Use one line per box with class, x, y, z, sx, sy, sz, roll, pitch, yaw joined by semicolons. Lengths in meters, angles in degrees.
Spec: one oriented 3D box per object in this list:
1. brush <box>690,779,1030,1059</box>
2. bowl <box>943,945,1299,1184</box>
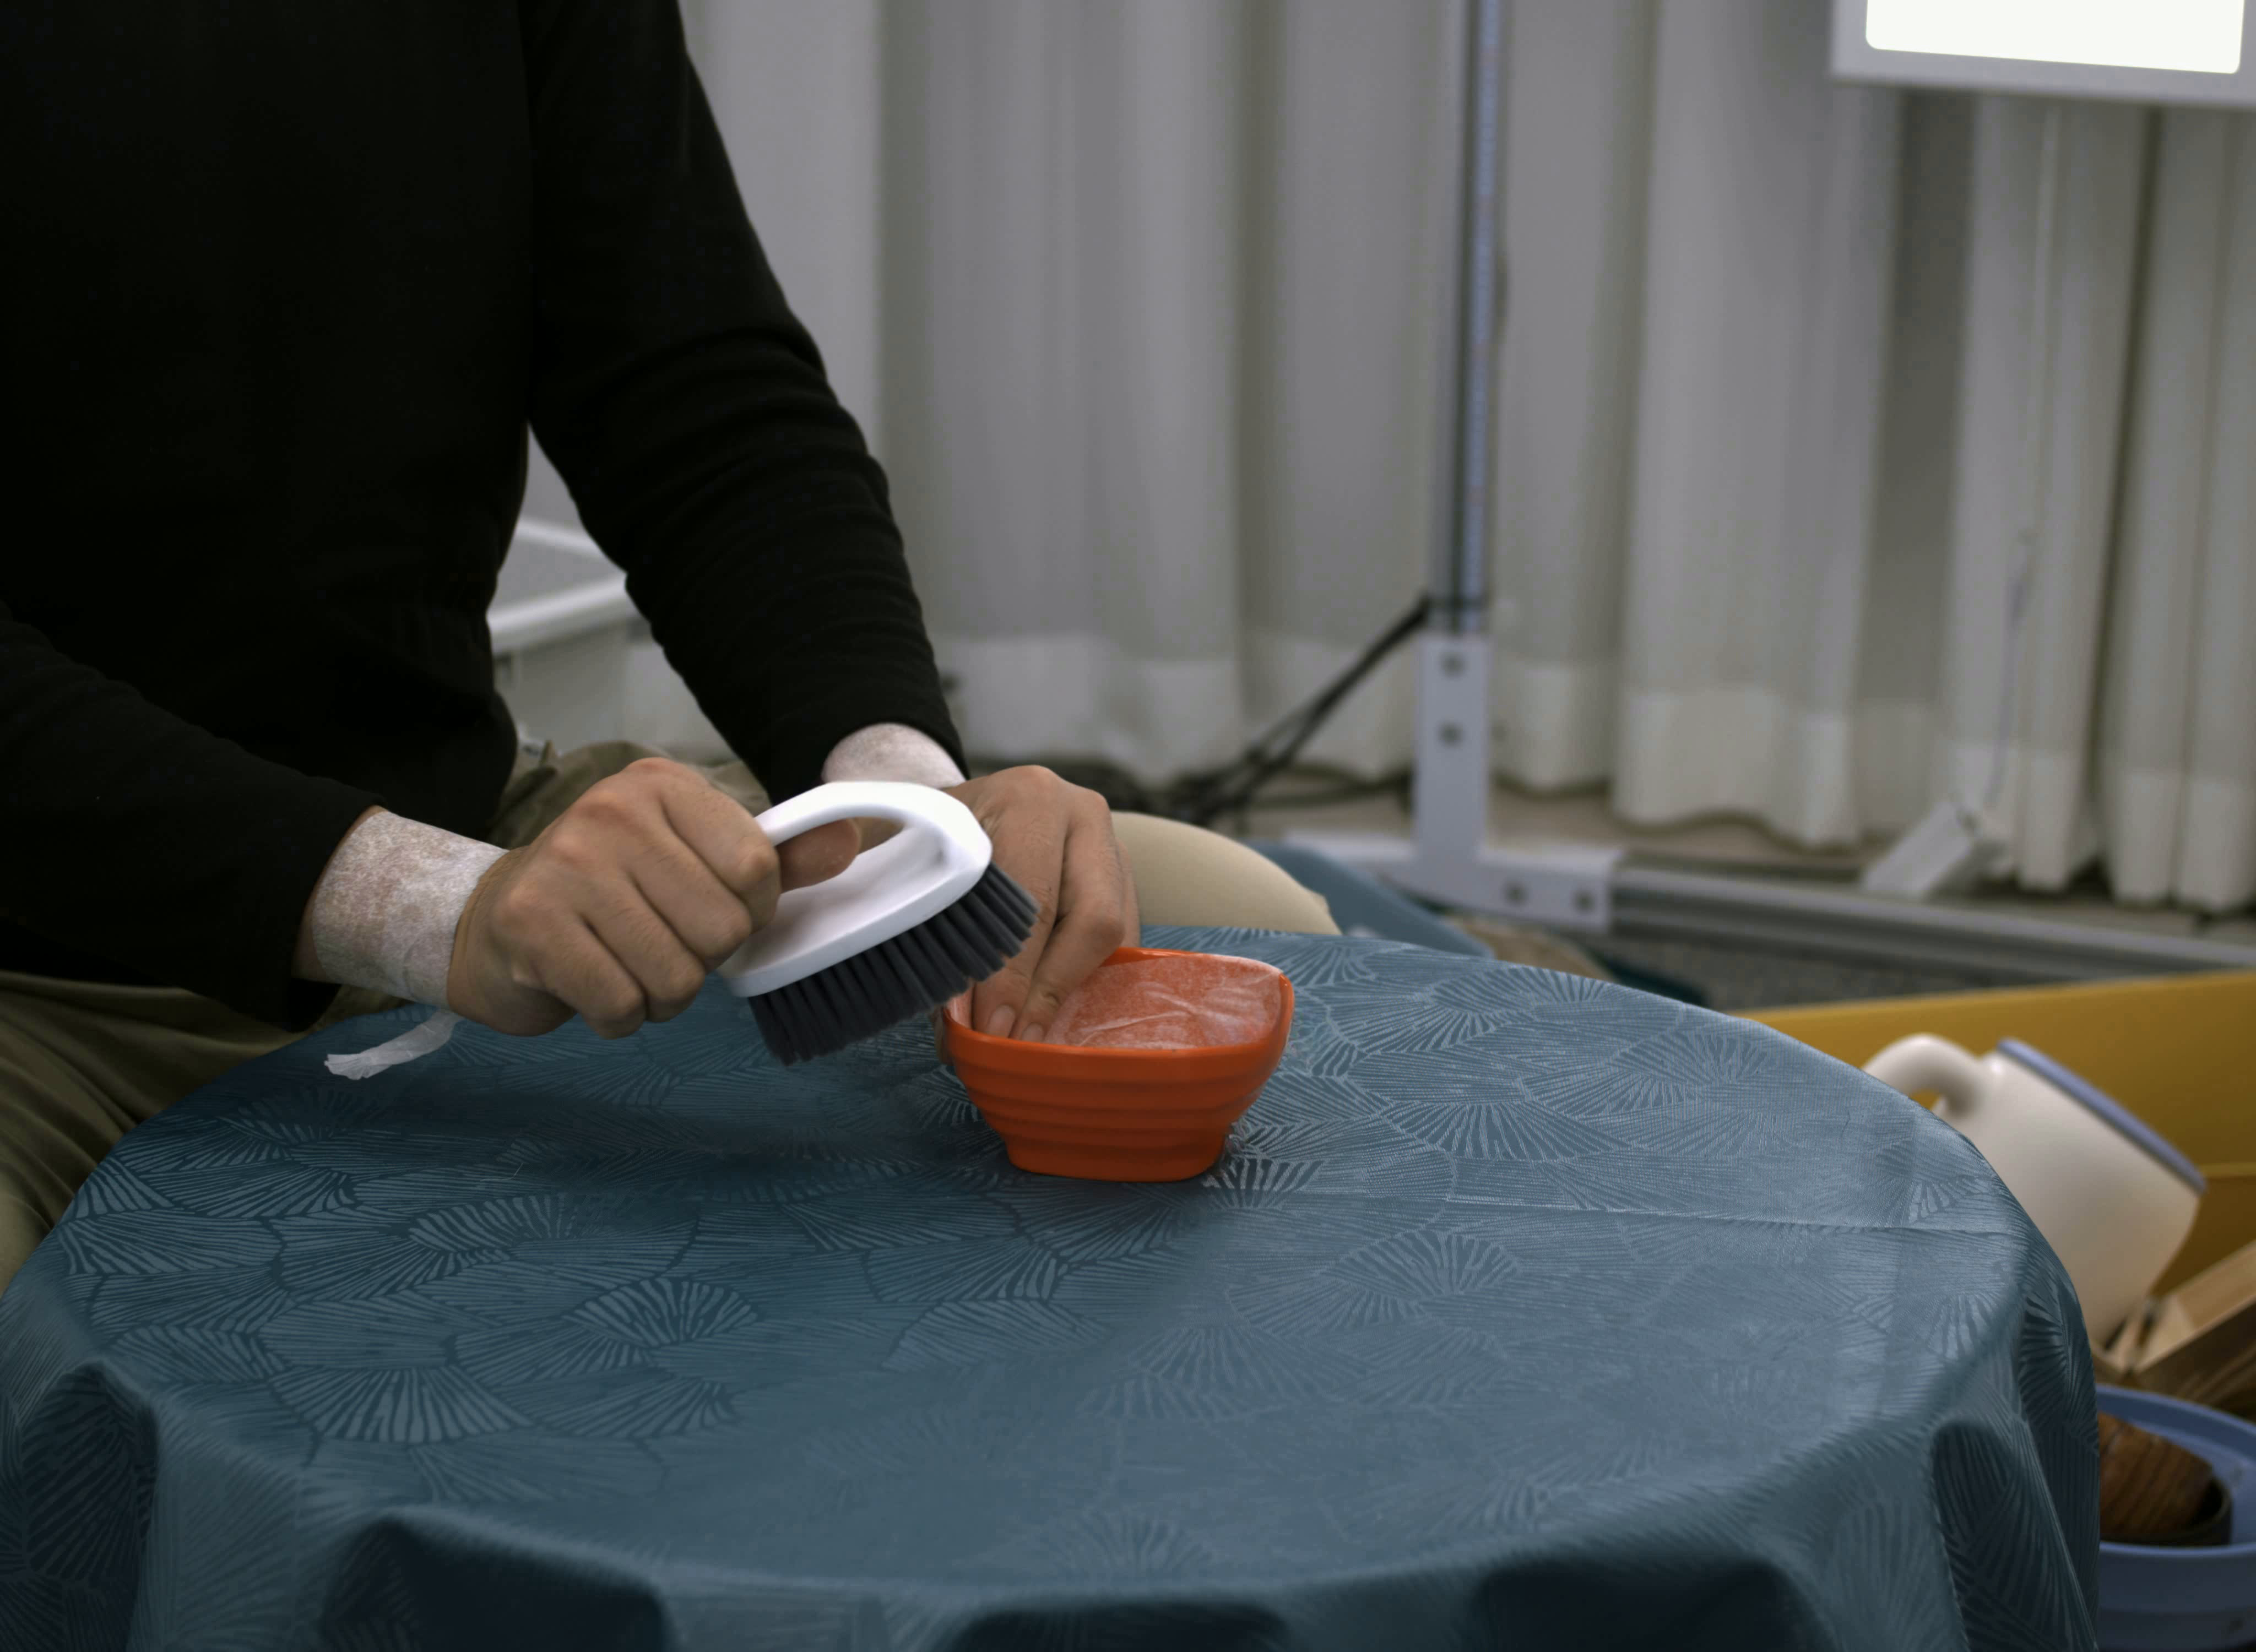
brush;-0.090;0.022;1.620;0.098;0.073;0.050;-23;29;24
bowl;-0.003;0.077;1.653;0.118;0.052;0.118;2;16;0
